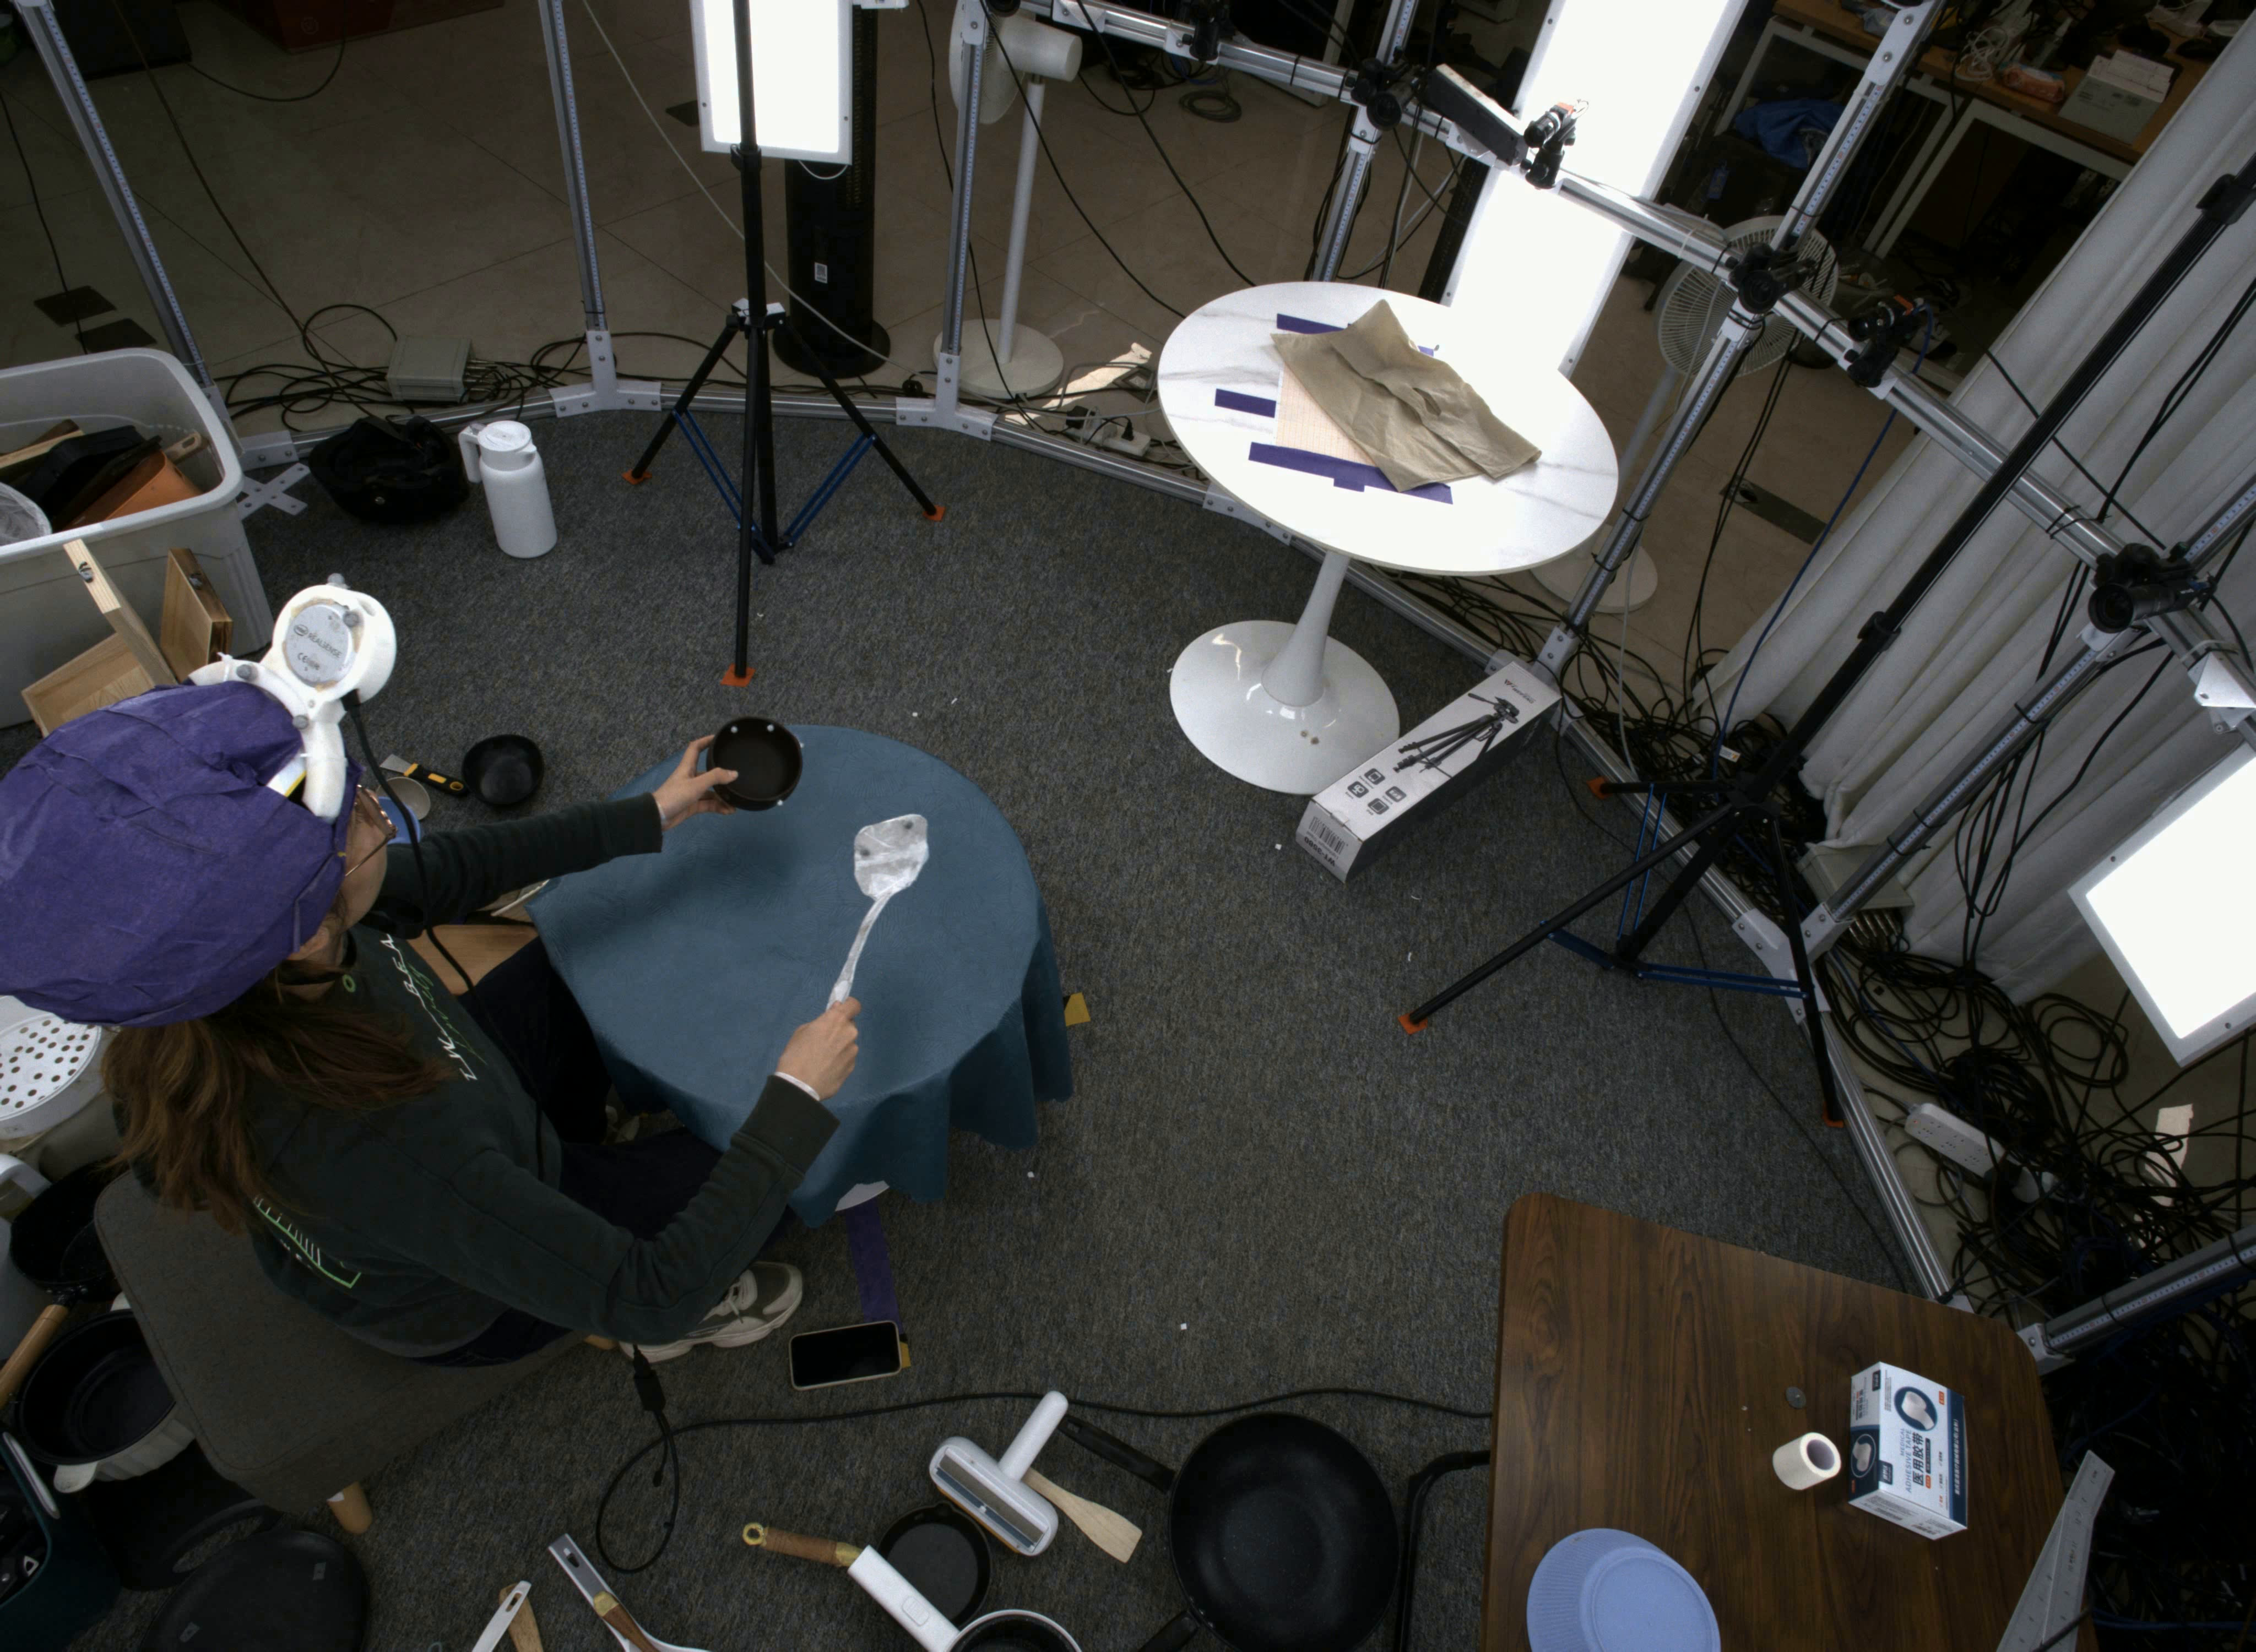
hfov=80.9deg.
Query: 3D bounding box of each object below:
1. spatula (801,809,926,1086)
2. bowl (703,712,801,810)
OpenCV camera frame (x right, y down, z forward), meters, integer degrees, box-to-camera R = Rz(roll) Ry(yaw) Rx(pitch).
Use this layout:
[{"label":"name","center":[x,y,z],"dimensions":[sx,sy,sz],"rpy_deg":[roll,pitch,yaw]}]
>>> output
[{"label":"spatula","center":[-0.294,0.117,1.398],"dimensions":[0.096,0.046,0.359],"rpy_deg":[-9,39,18]},{"label":"bowl","center":[-0.473,-0.075,1.618],"dimensions":[0.119,0.069,0.117],"rpy_deg":[11,65,-22]}]
